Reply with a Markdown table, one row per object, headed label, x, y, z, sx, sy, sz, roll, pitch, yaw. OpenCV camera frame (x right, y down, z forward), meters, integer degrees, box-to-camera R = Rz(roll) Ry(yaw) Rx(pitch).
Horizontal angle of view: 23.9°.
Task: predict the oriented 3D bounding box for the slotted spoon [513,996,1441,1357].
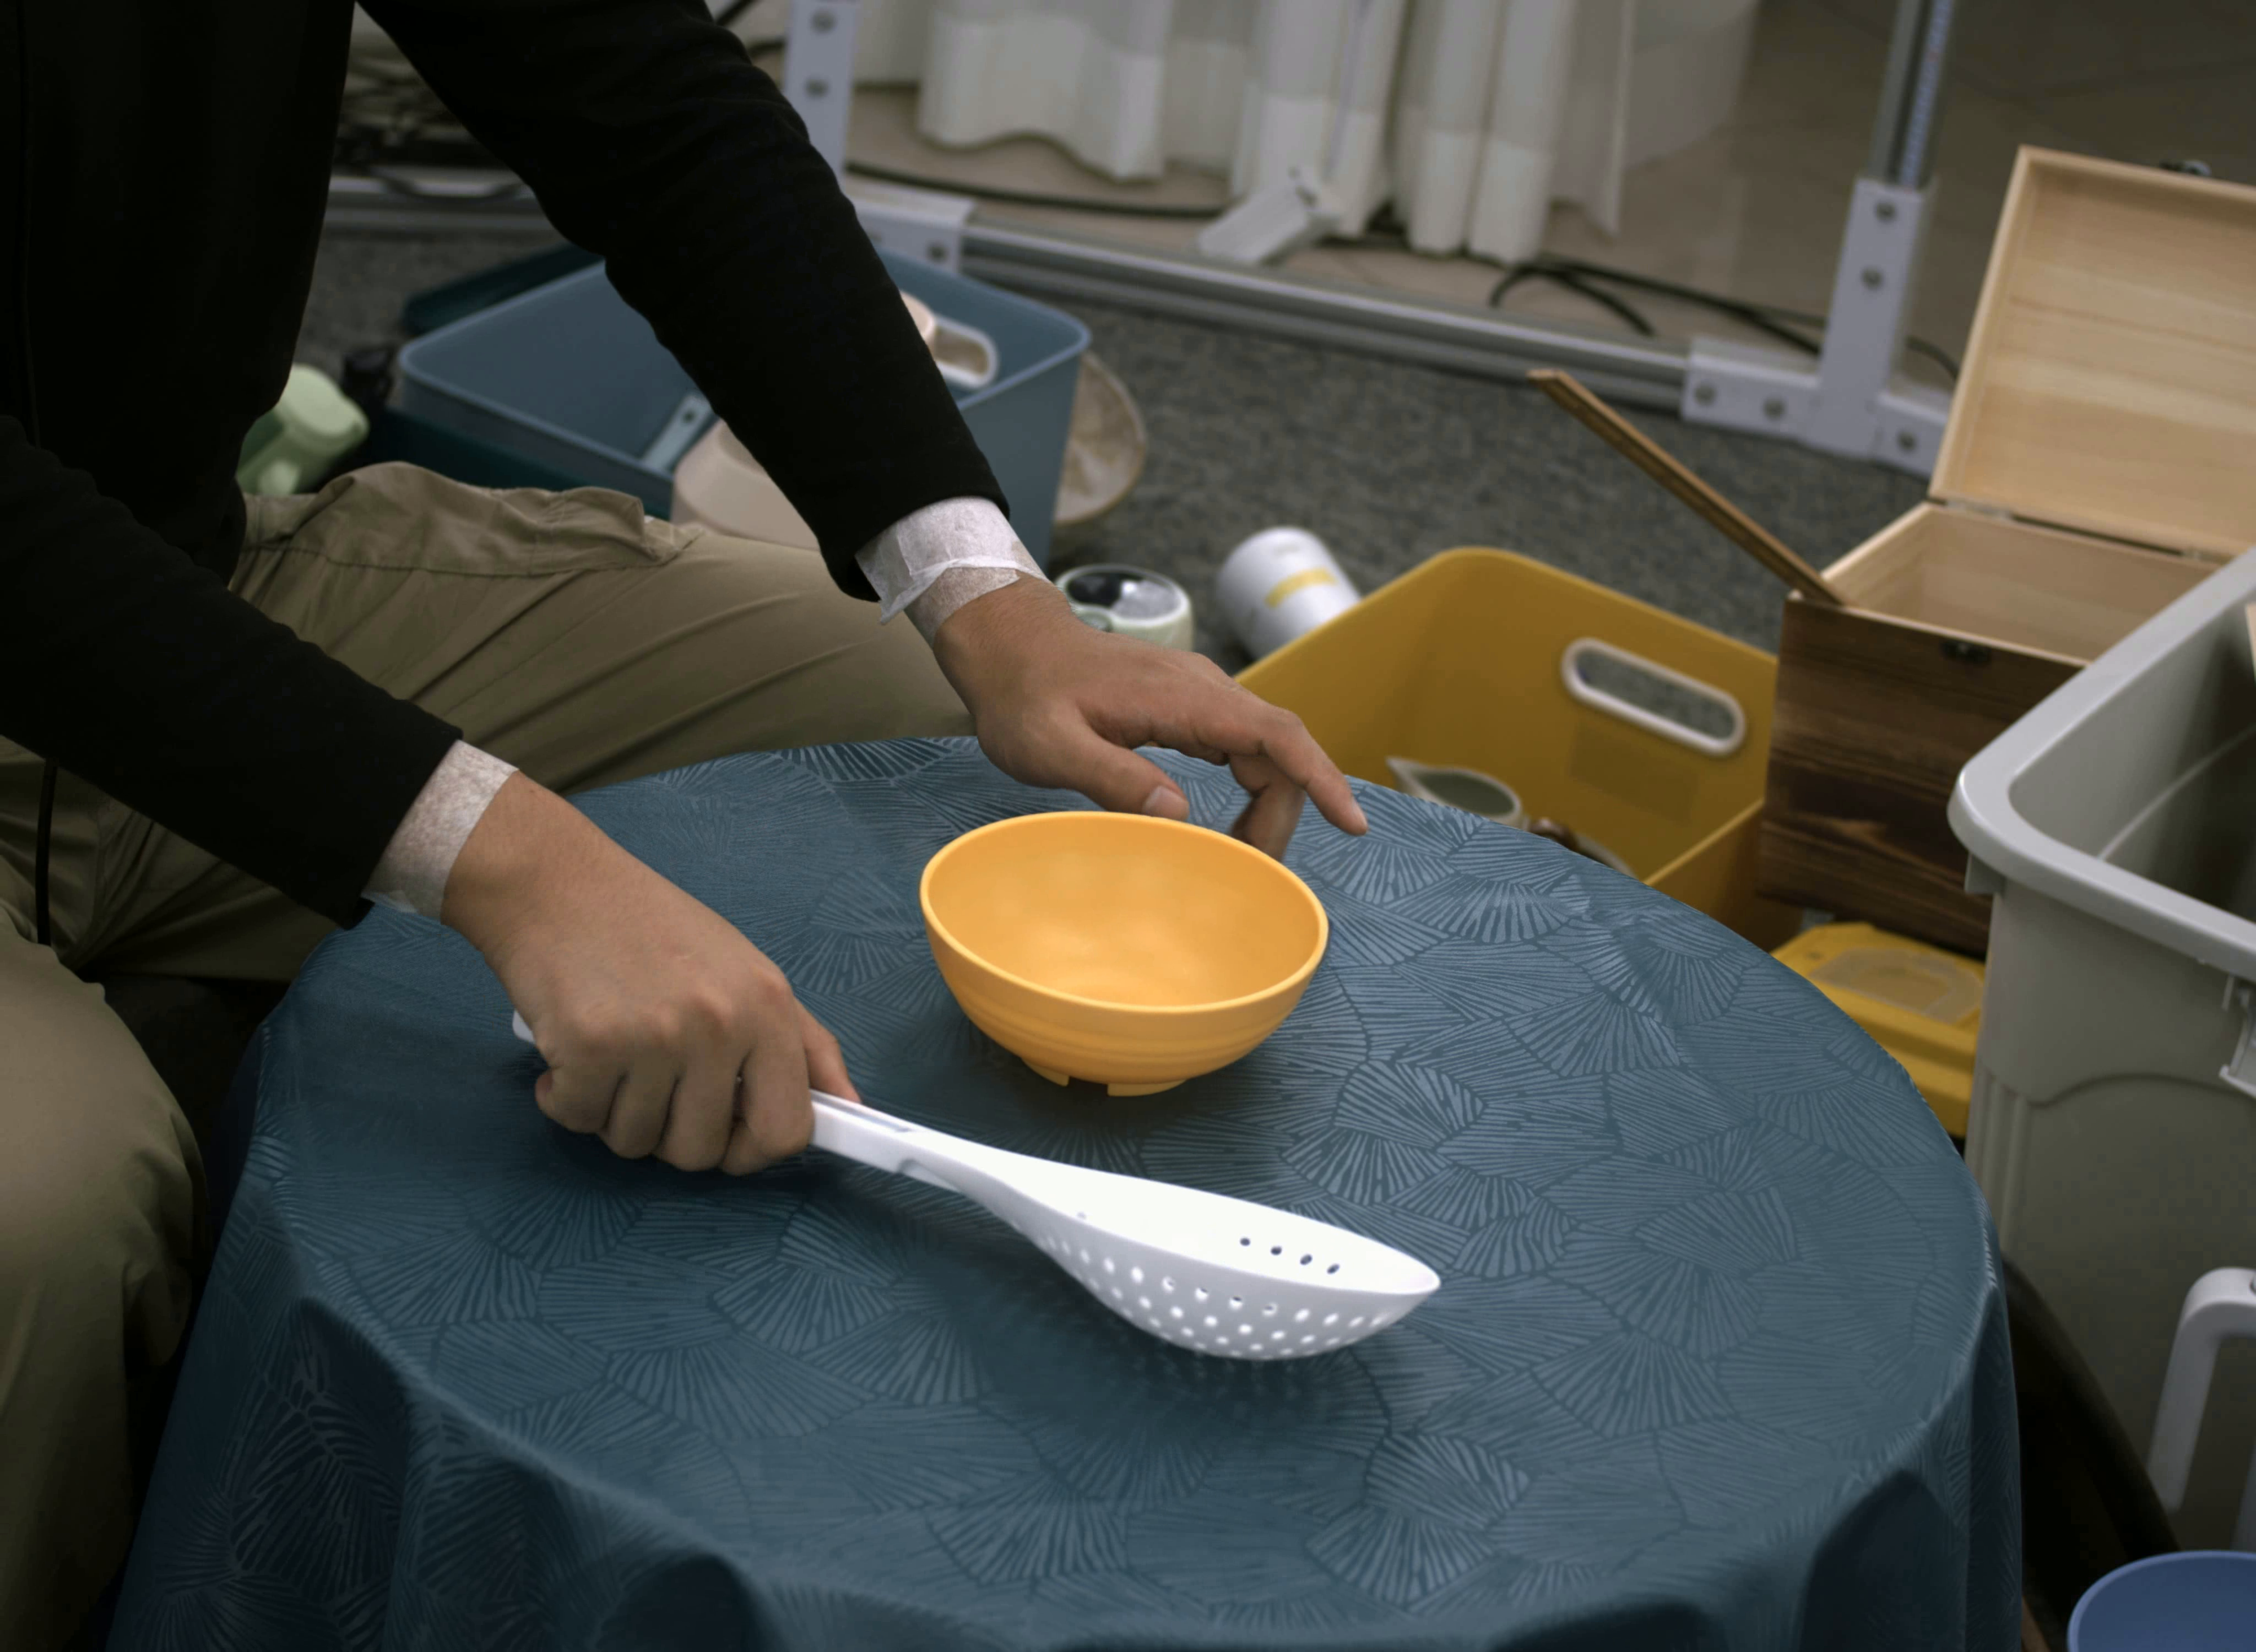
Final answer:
| label | x | y | z | sx | sy | sz | roll | pitch | yaw |
| --- | --- | --- | --- | --- | --- | --- | --- | --- | --- |
| slotted spoon | -0.059 | 0.109 | 1.753 | 0.351 | 0.046 | 0.135 | 22 | 6 | 28 |

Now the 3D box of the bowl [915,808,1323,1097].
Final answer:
| label | x | y | z | sx | sy | sz | roll | pitch | yaw |
| --- | --- | --- | --- | --- | --- | --- | --- | --- | --- |
| bowl | -0.007 | 0.054 | 1.875 | 0.145 | 0.060 | 0.146 | 7 | 27 | -4 |
